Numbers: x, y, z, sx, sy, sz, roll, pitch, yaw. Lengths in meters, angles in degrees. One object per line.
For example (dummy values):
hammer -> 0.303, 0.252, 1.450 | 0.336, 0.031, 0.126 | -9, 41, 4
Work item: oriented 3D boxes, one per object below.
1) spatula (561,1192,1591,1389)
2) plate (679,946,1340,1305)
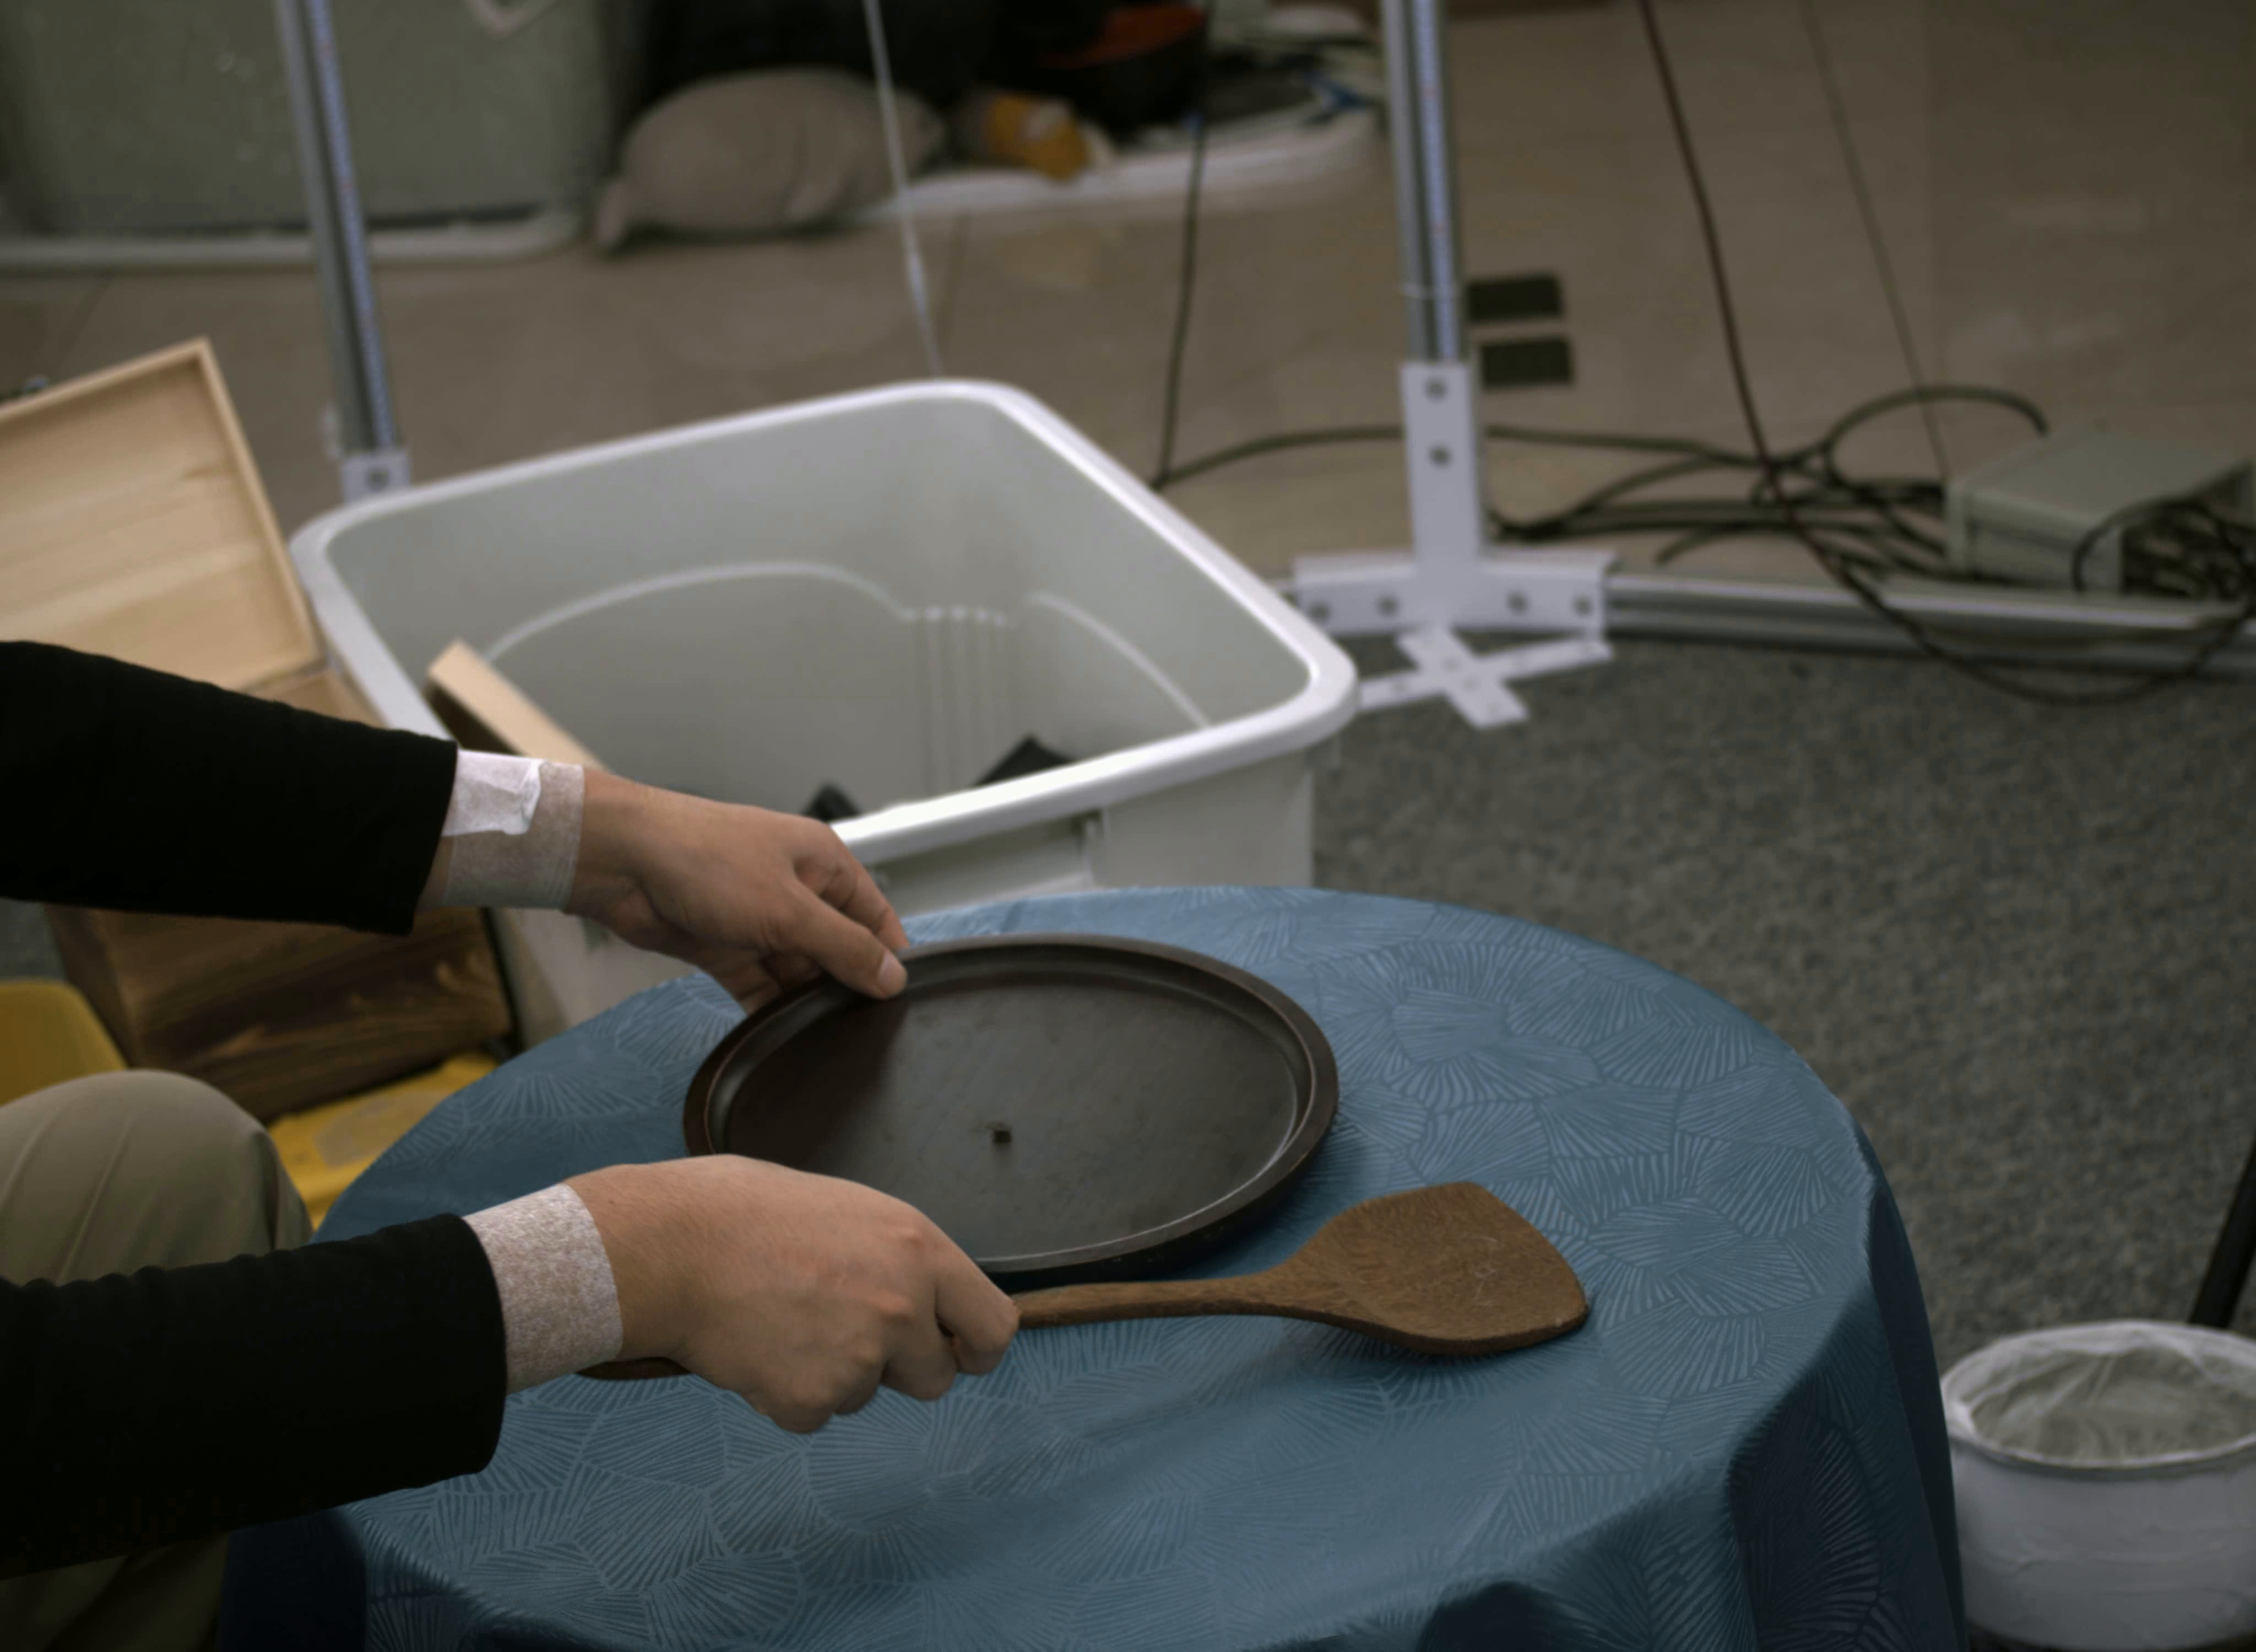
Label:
spatula -> -0.016, 0.168, 1.975 | 0.385, 0.016, 0.094 | -3, 30, -27
plate -> -0.045, 0.113, 2.172 | 0.254, 0.029, 0.250 | -2, 29, 1
